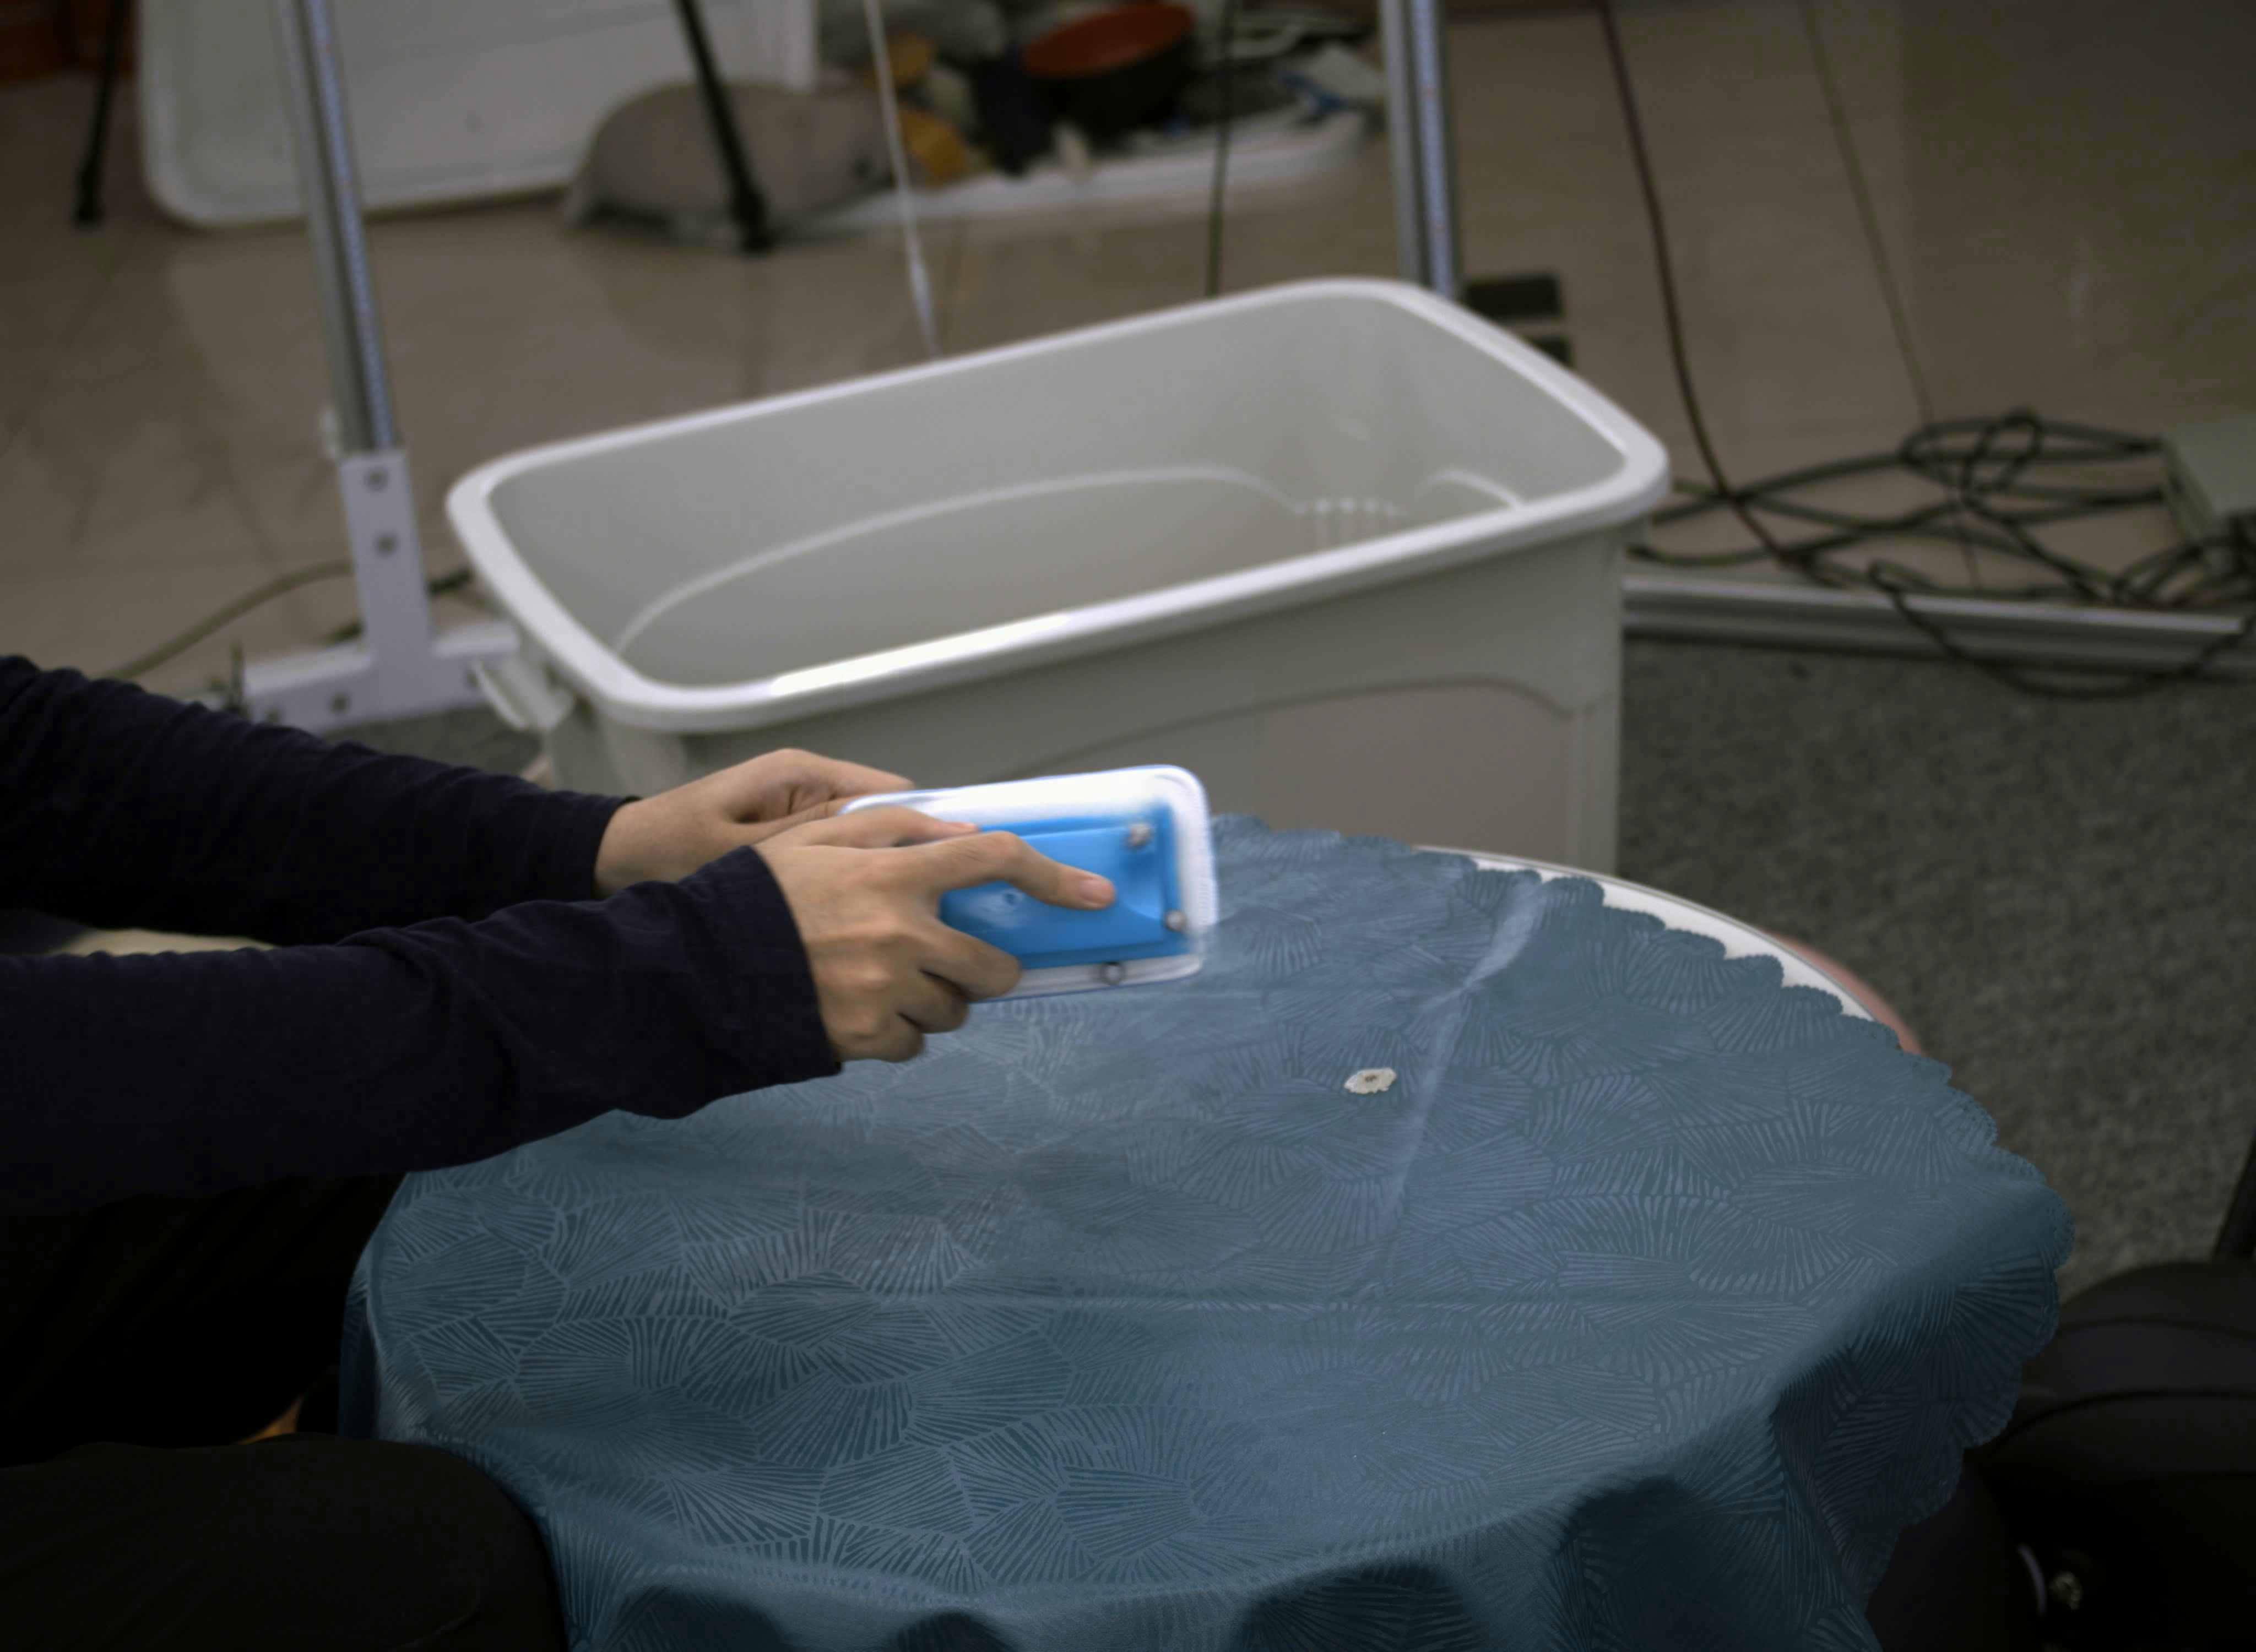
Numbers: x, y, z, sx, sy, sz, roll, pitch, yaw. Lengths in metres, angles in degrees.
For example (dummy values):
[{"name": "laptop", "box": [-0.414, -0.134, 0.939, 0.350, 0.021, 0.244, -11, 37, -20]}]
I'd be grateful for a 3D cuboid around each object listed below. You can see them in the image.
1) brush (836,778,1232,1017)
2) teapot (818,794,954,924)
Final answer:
[{"name": "brush", "box": [-0.034, 0.022, 2.068, 0.144, 0.084, 0.056, -5, -5, -3]}, {"name": "teapot", "box": [-0.058, 0.021, 2.145, 0.127, 0.059, 0.092, 7, -9, 19]}]
